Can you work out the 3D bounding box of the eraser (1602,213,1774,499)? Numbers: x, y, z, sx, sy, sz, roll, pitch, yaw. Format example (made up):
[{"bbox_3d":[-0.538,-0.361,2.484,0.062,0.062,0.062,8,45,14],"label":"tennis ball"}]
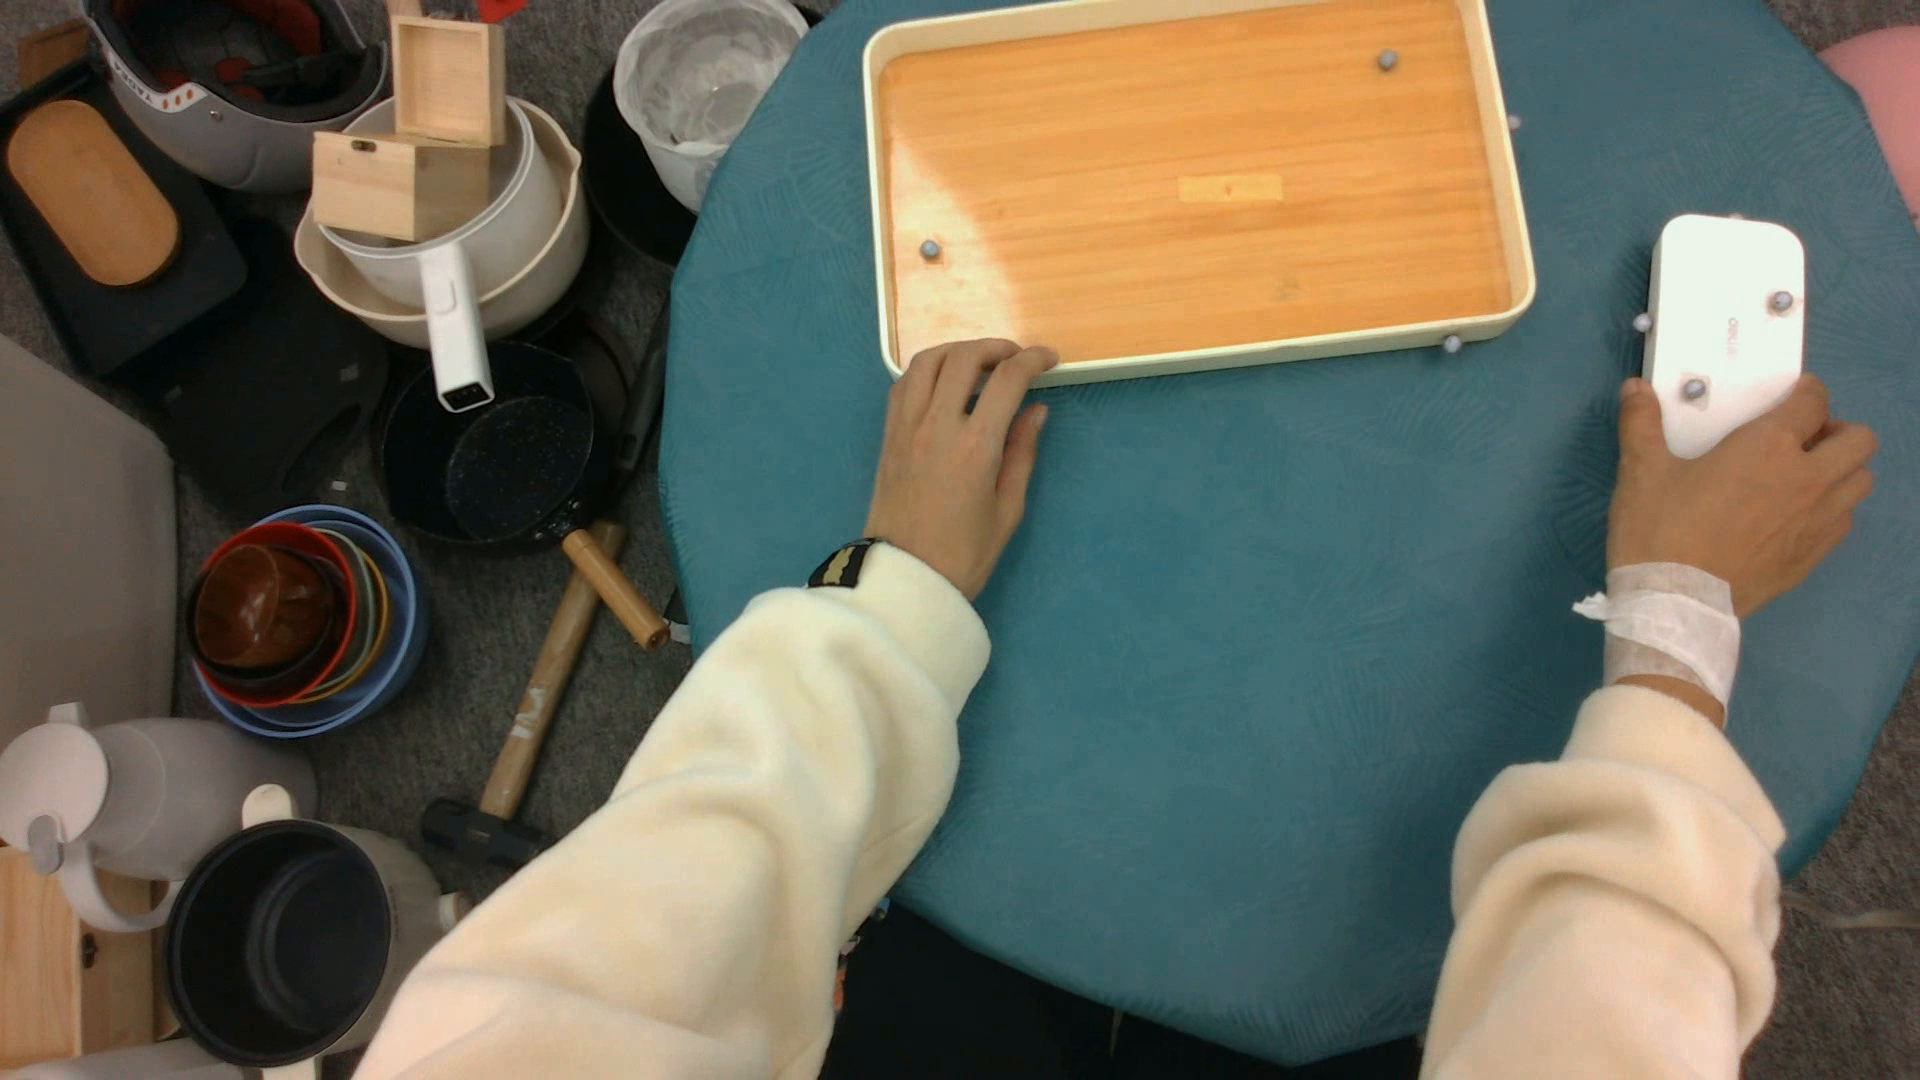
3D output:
[{"bbox_3d":[0.327,-0.084,0.622,0.063,0.034,0.131,11,77,7],"label":"eraser"}]

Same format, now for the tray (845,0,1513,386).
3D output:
[{"bbox_3d":[0.098,-0.180,0.666,0.300,0.027,0.192,-5,75,3],"label":"tray"}]
